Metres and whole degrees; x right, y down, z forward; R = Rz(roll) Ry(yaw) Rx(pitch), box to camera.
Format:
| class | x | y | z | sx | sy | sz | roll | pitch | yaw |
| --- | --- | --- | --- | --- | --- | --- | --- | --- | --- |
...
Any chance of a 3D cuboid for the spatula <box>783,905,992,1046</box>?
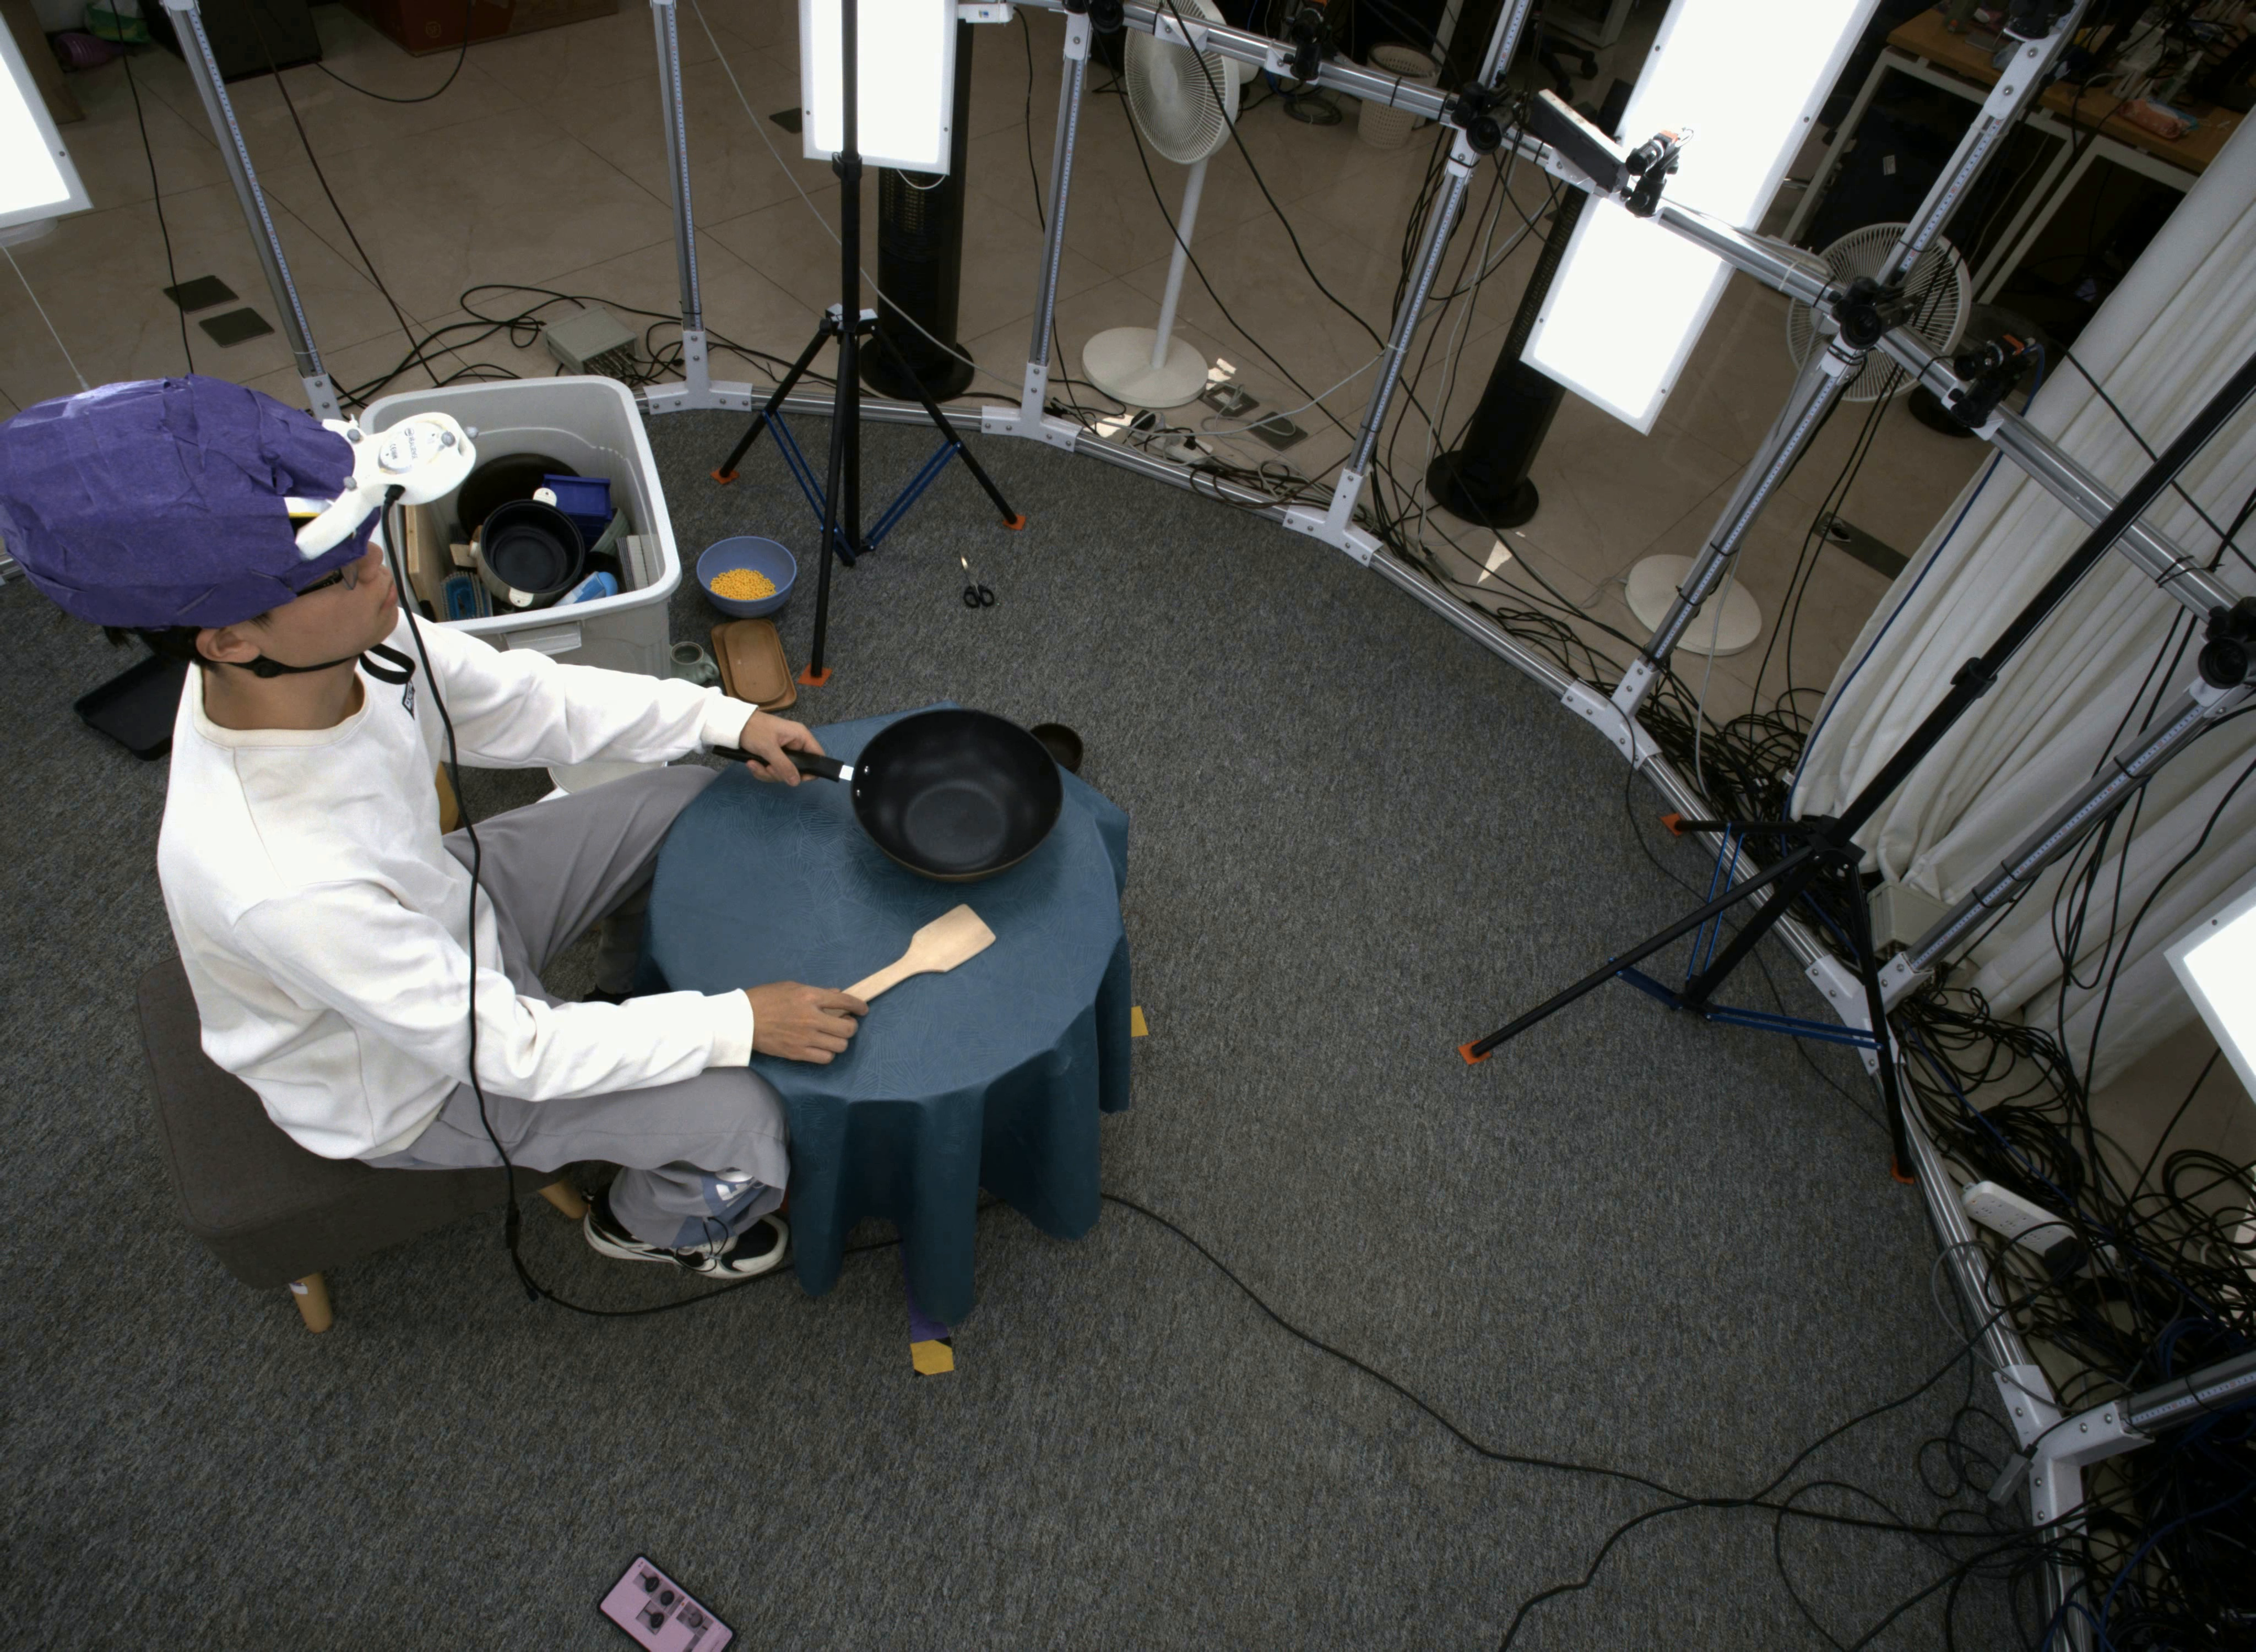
| class | x | y | z | sx | sy | sz | roll | pitch | yaw |
| --- | --- | --- | --- | --- | --- | --- | --- | --- | --- |
| spatula | -0.299 | 0.188 | 1.615 | 0.294 | 0.011 | 0.070 | -31 | 67 | -33 |

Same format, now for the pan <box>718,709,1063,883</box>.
| class | x | y | z | sx | sy | sz | roll | pitch | yaw |
| --- | --- | --- | --- | --- | --- | --- | --- | --- | --- |
| pan | -0.318 | -0.044 | 1.741 | 0.460 | 0.089 | 0.283 | 10 | 52 | -3 |
